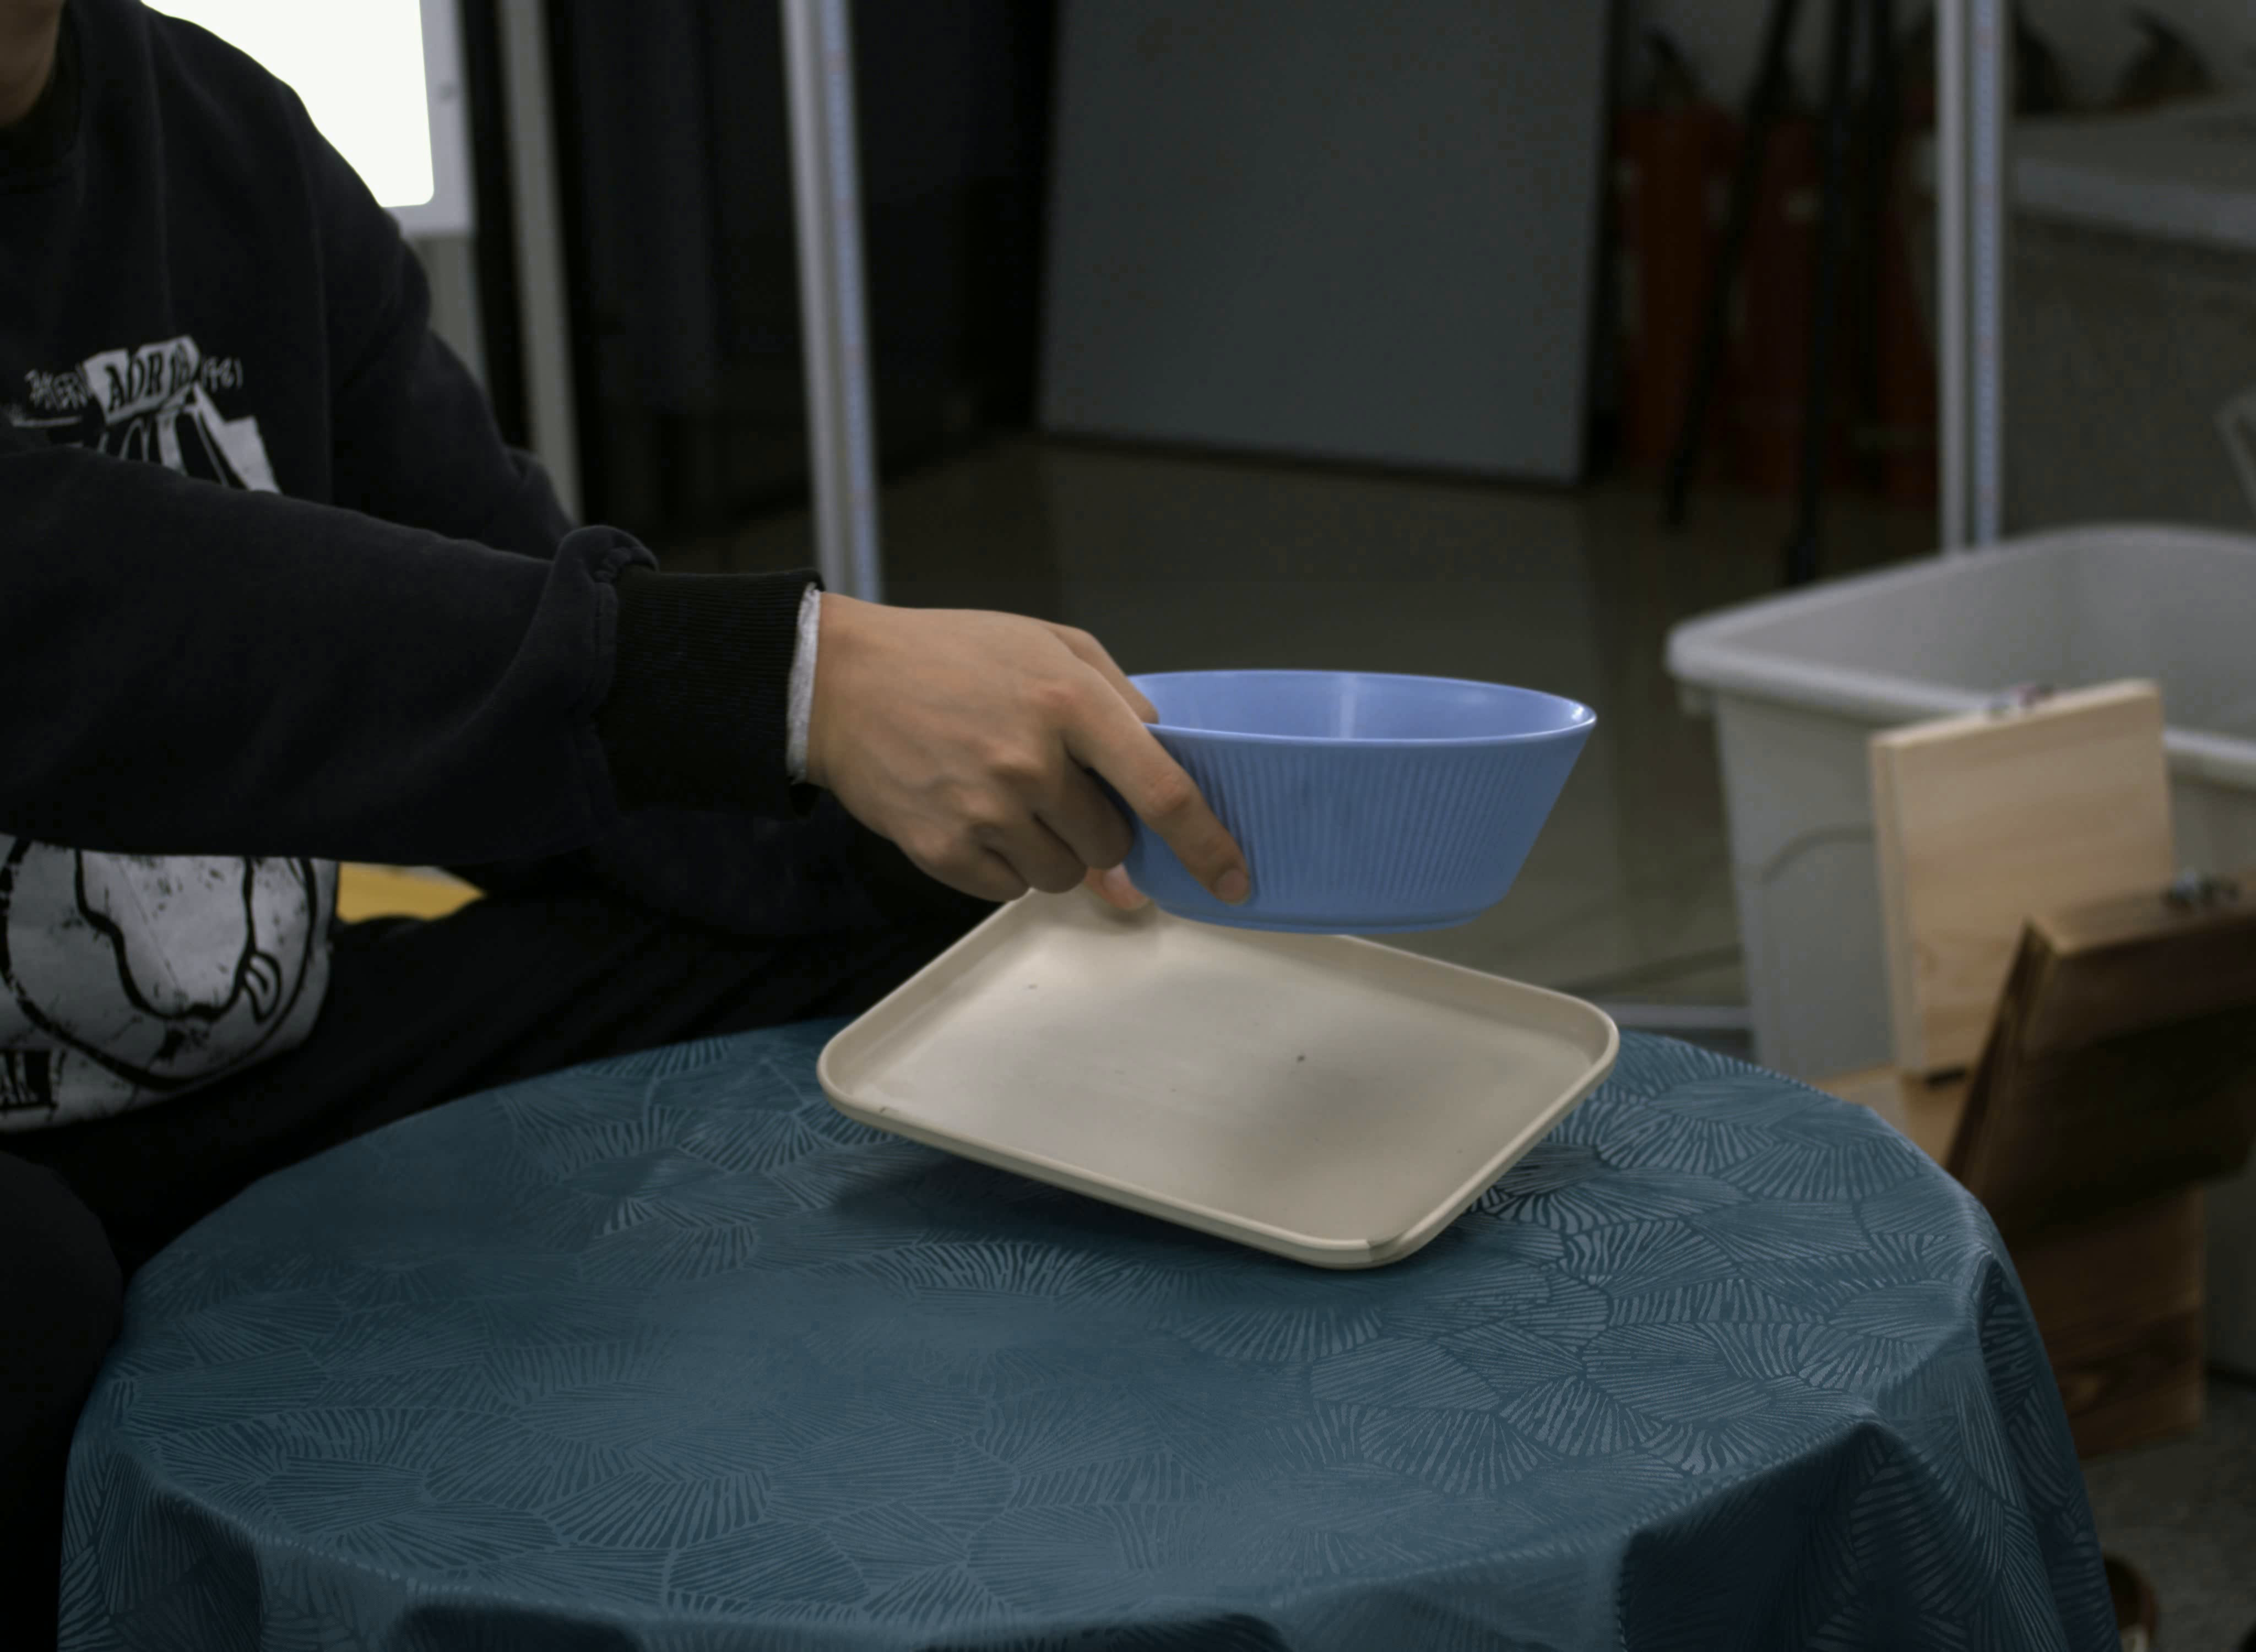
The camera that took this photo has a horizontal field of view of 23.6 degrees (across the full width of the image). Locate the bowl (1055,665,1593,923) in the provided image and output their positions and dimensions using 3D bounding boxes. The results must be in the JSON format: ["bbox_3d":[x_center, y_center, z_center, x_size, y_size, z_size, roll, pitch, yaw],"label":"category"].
[{"bbox_3d":[0.062,-0.011,1.742,0.173,0.071,0.176,2,8,-1],"label":"bowl"}]

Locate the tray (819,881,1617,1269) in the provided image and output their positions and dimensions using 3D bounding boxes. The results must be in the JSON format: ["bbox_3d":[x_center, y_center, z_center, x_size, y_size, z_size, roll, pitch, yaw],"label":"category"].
[{"bbox_3d":[0.030,0.081,1.781,0.241,0.017,0.169,14,33,33],"label":"tray"}]
